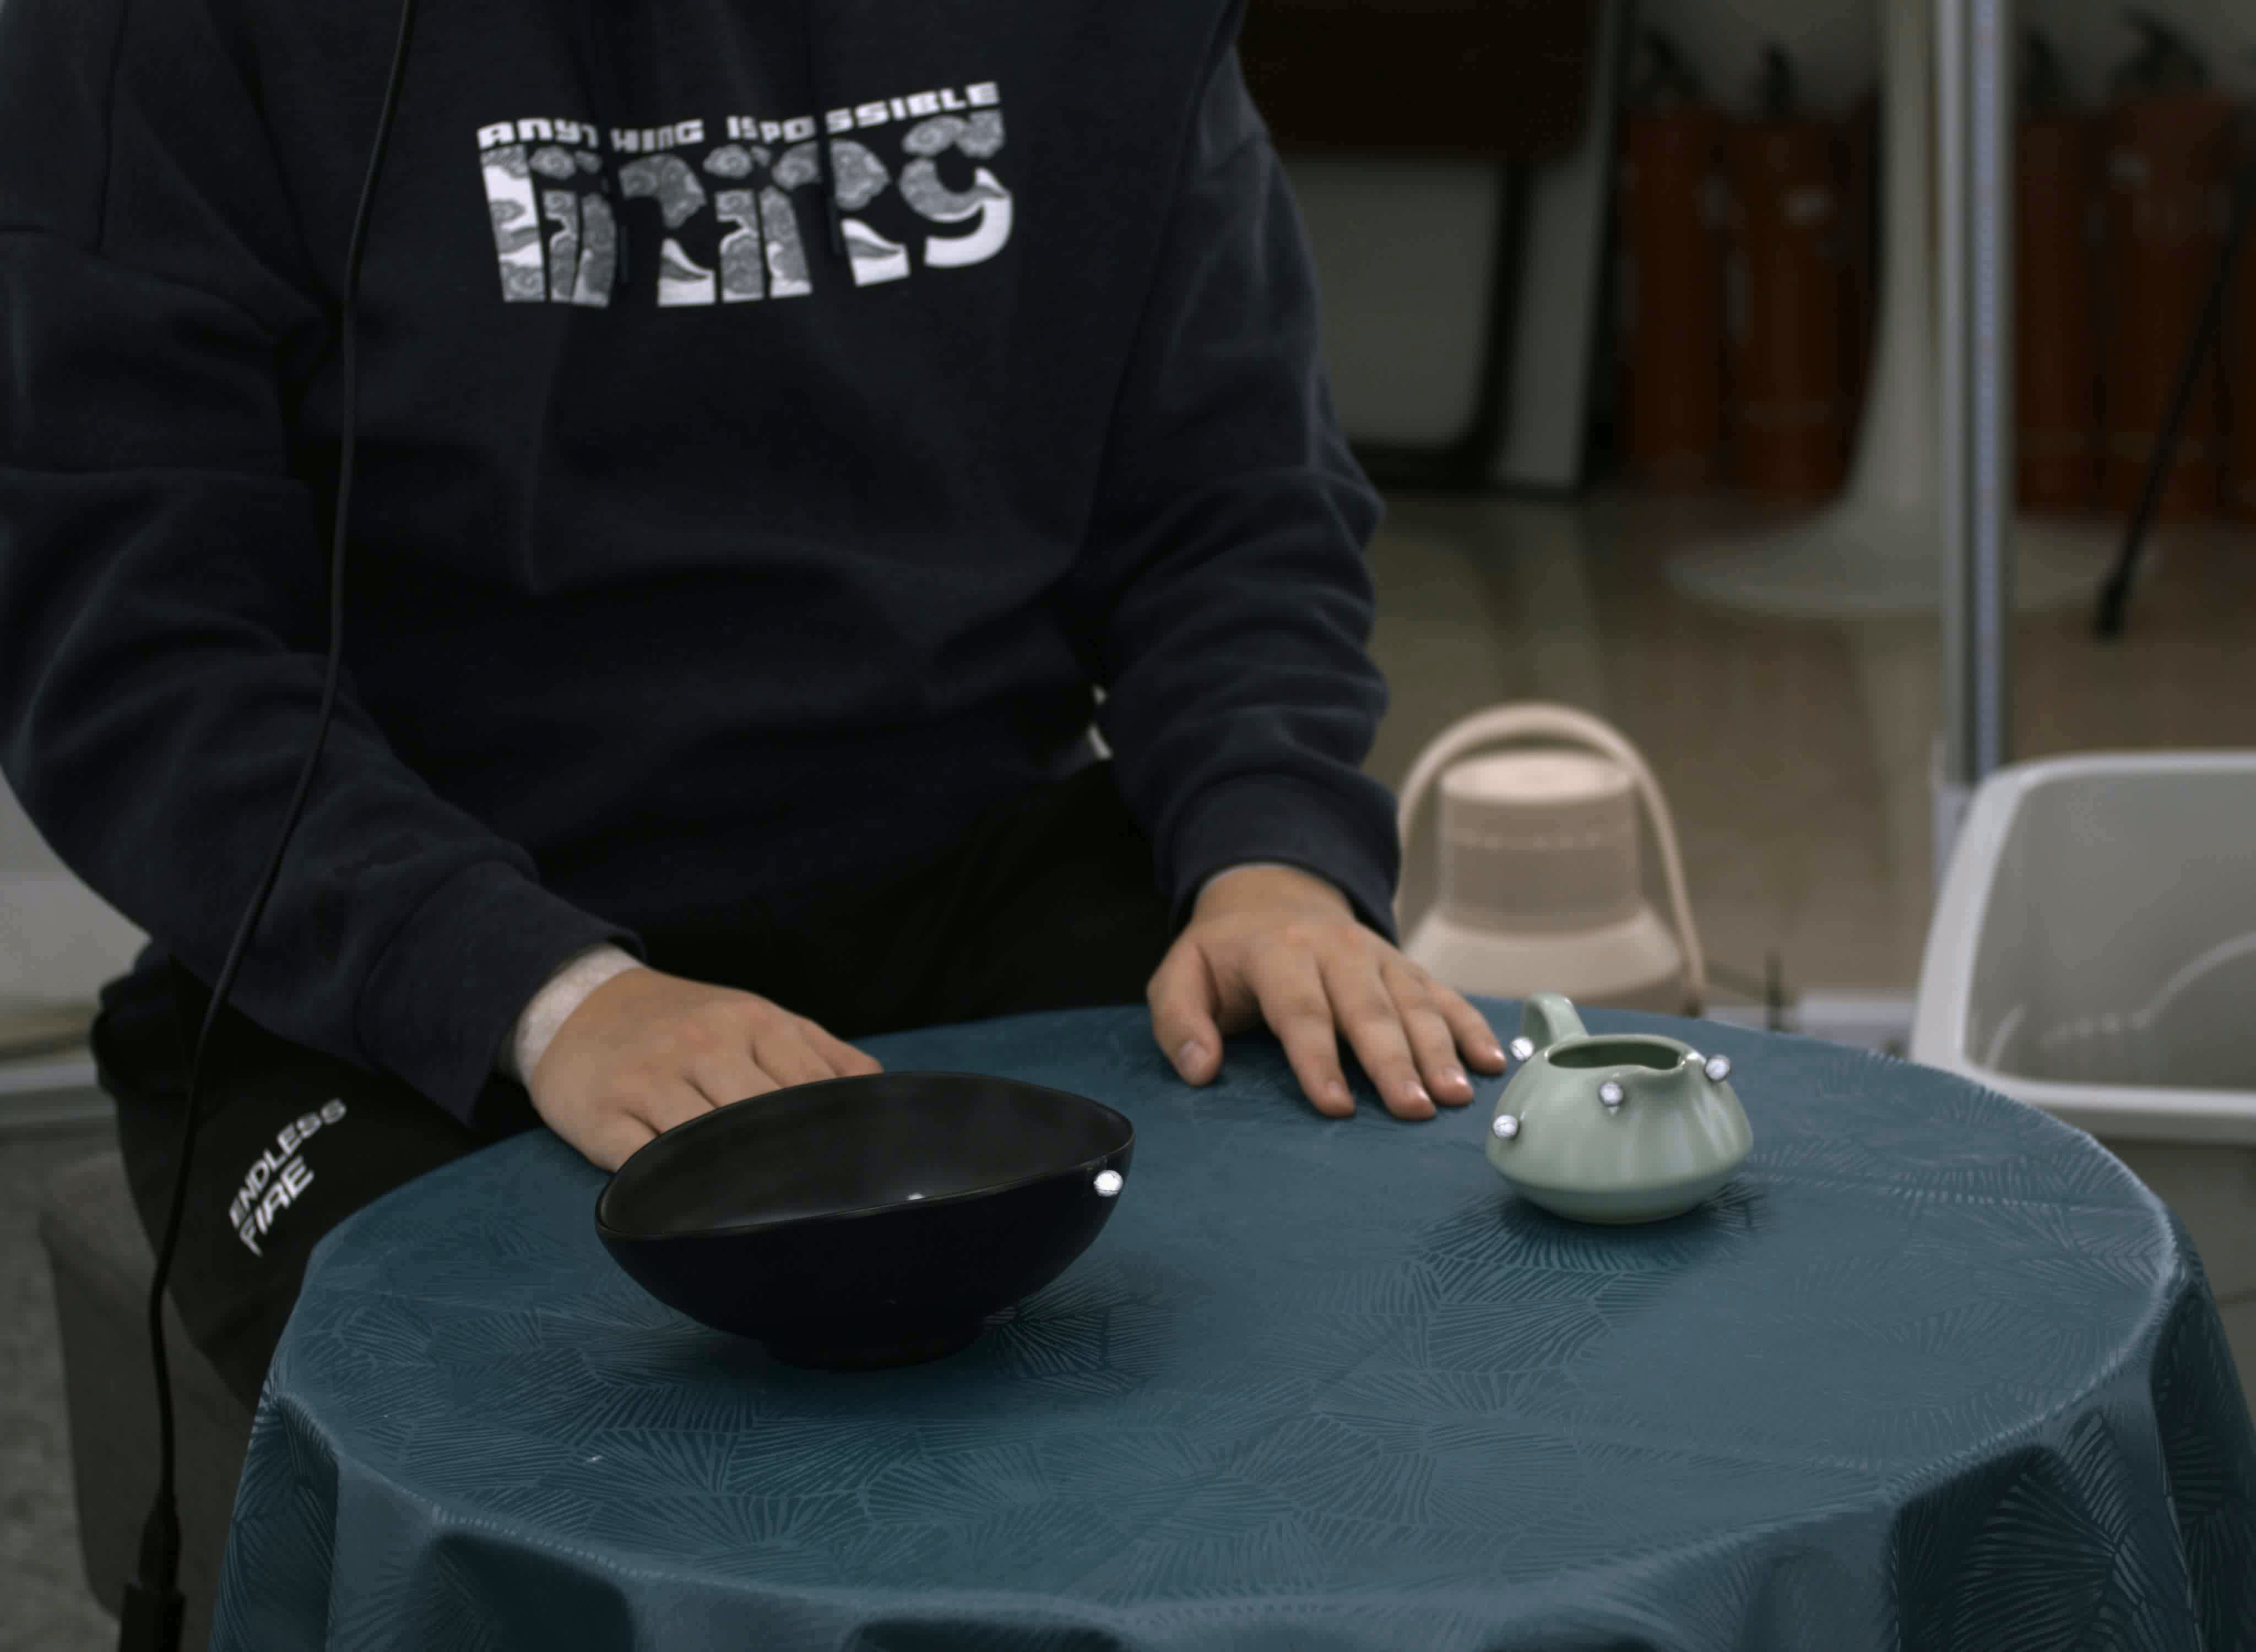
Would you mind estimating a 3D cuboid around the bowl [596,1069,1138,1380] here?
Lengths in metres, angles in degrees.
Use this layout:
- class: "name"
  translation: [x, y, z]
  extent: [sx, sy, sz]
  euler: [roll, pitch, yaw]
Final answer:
- class: "bowl"
  translation: [-0.076, 0.127, 1.642]
  extent: [0.167, 0.067, 0.138]
  euler: [-10, 14, -18]

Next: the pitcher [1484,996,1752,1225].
- class: "pitcher"
  translation: [0.152, 0.092, 1.734]
  extent: [0.084, 0.061, 0.109]
  euler: [-8, 12, -21]
